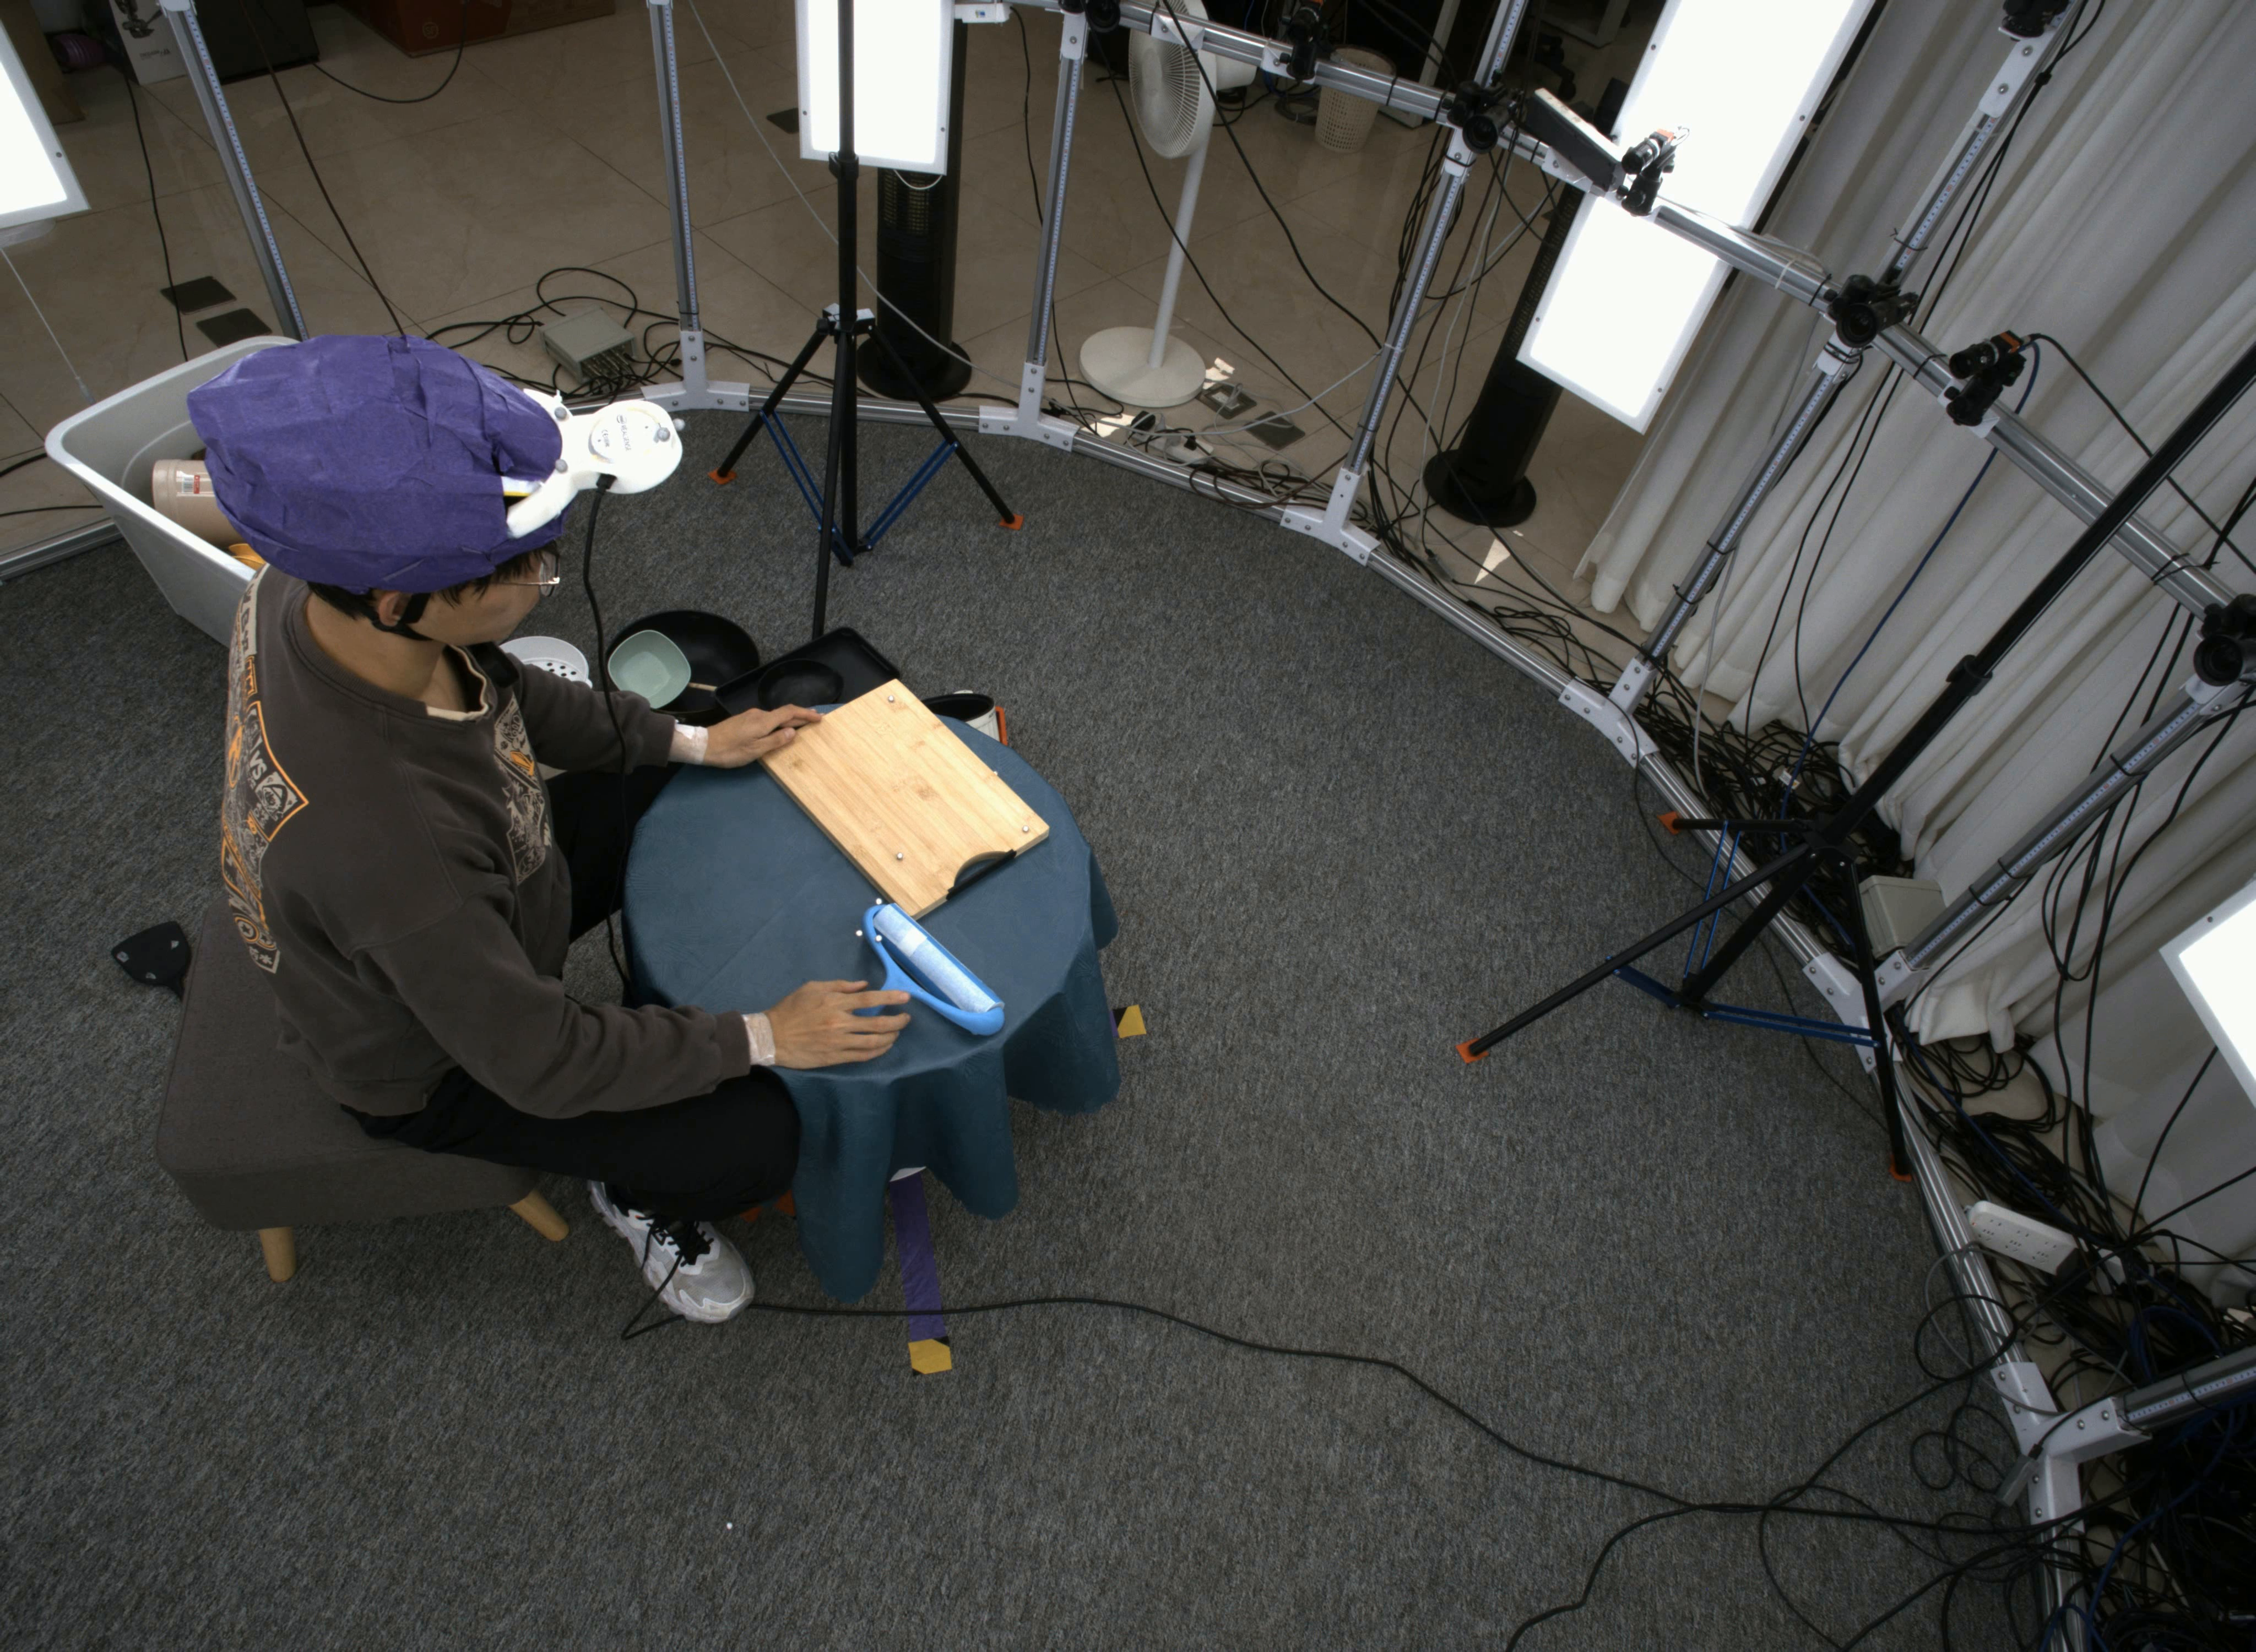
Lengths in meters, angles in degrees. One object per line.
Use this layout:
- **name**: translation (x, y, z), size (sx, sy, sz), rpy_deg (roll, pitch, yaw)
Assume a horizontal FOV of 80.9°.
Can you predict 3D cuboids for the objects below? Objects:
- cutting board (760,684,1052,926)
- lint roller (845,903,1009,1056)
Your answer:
- **cutting board**: translation (-0.305, -0.039, 1.786), size (0.341, 0.024, 0.251), rpy_deg (43, 57, 18)
- **lint roller**: translation (-0.273, 0.204, 1.588), size (0.224, 0.069, 0.180), rpy_deg (37, 54, 13)
